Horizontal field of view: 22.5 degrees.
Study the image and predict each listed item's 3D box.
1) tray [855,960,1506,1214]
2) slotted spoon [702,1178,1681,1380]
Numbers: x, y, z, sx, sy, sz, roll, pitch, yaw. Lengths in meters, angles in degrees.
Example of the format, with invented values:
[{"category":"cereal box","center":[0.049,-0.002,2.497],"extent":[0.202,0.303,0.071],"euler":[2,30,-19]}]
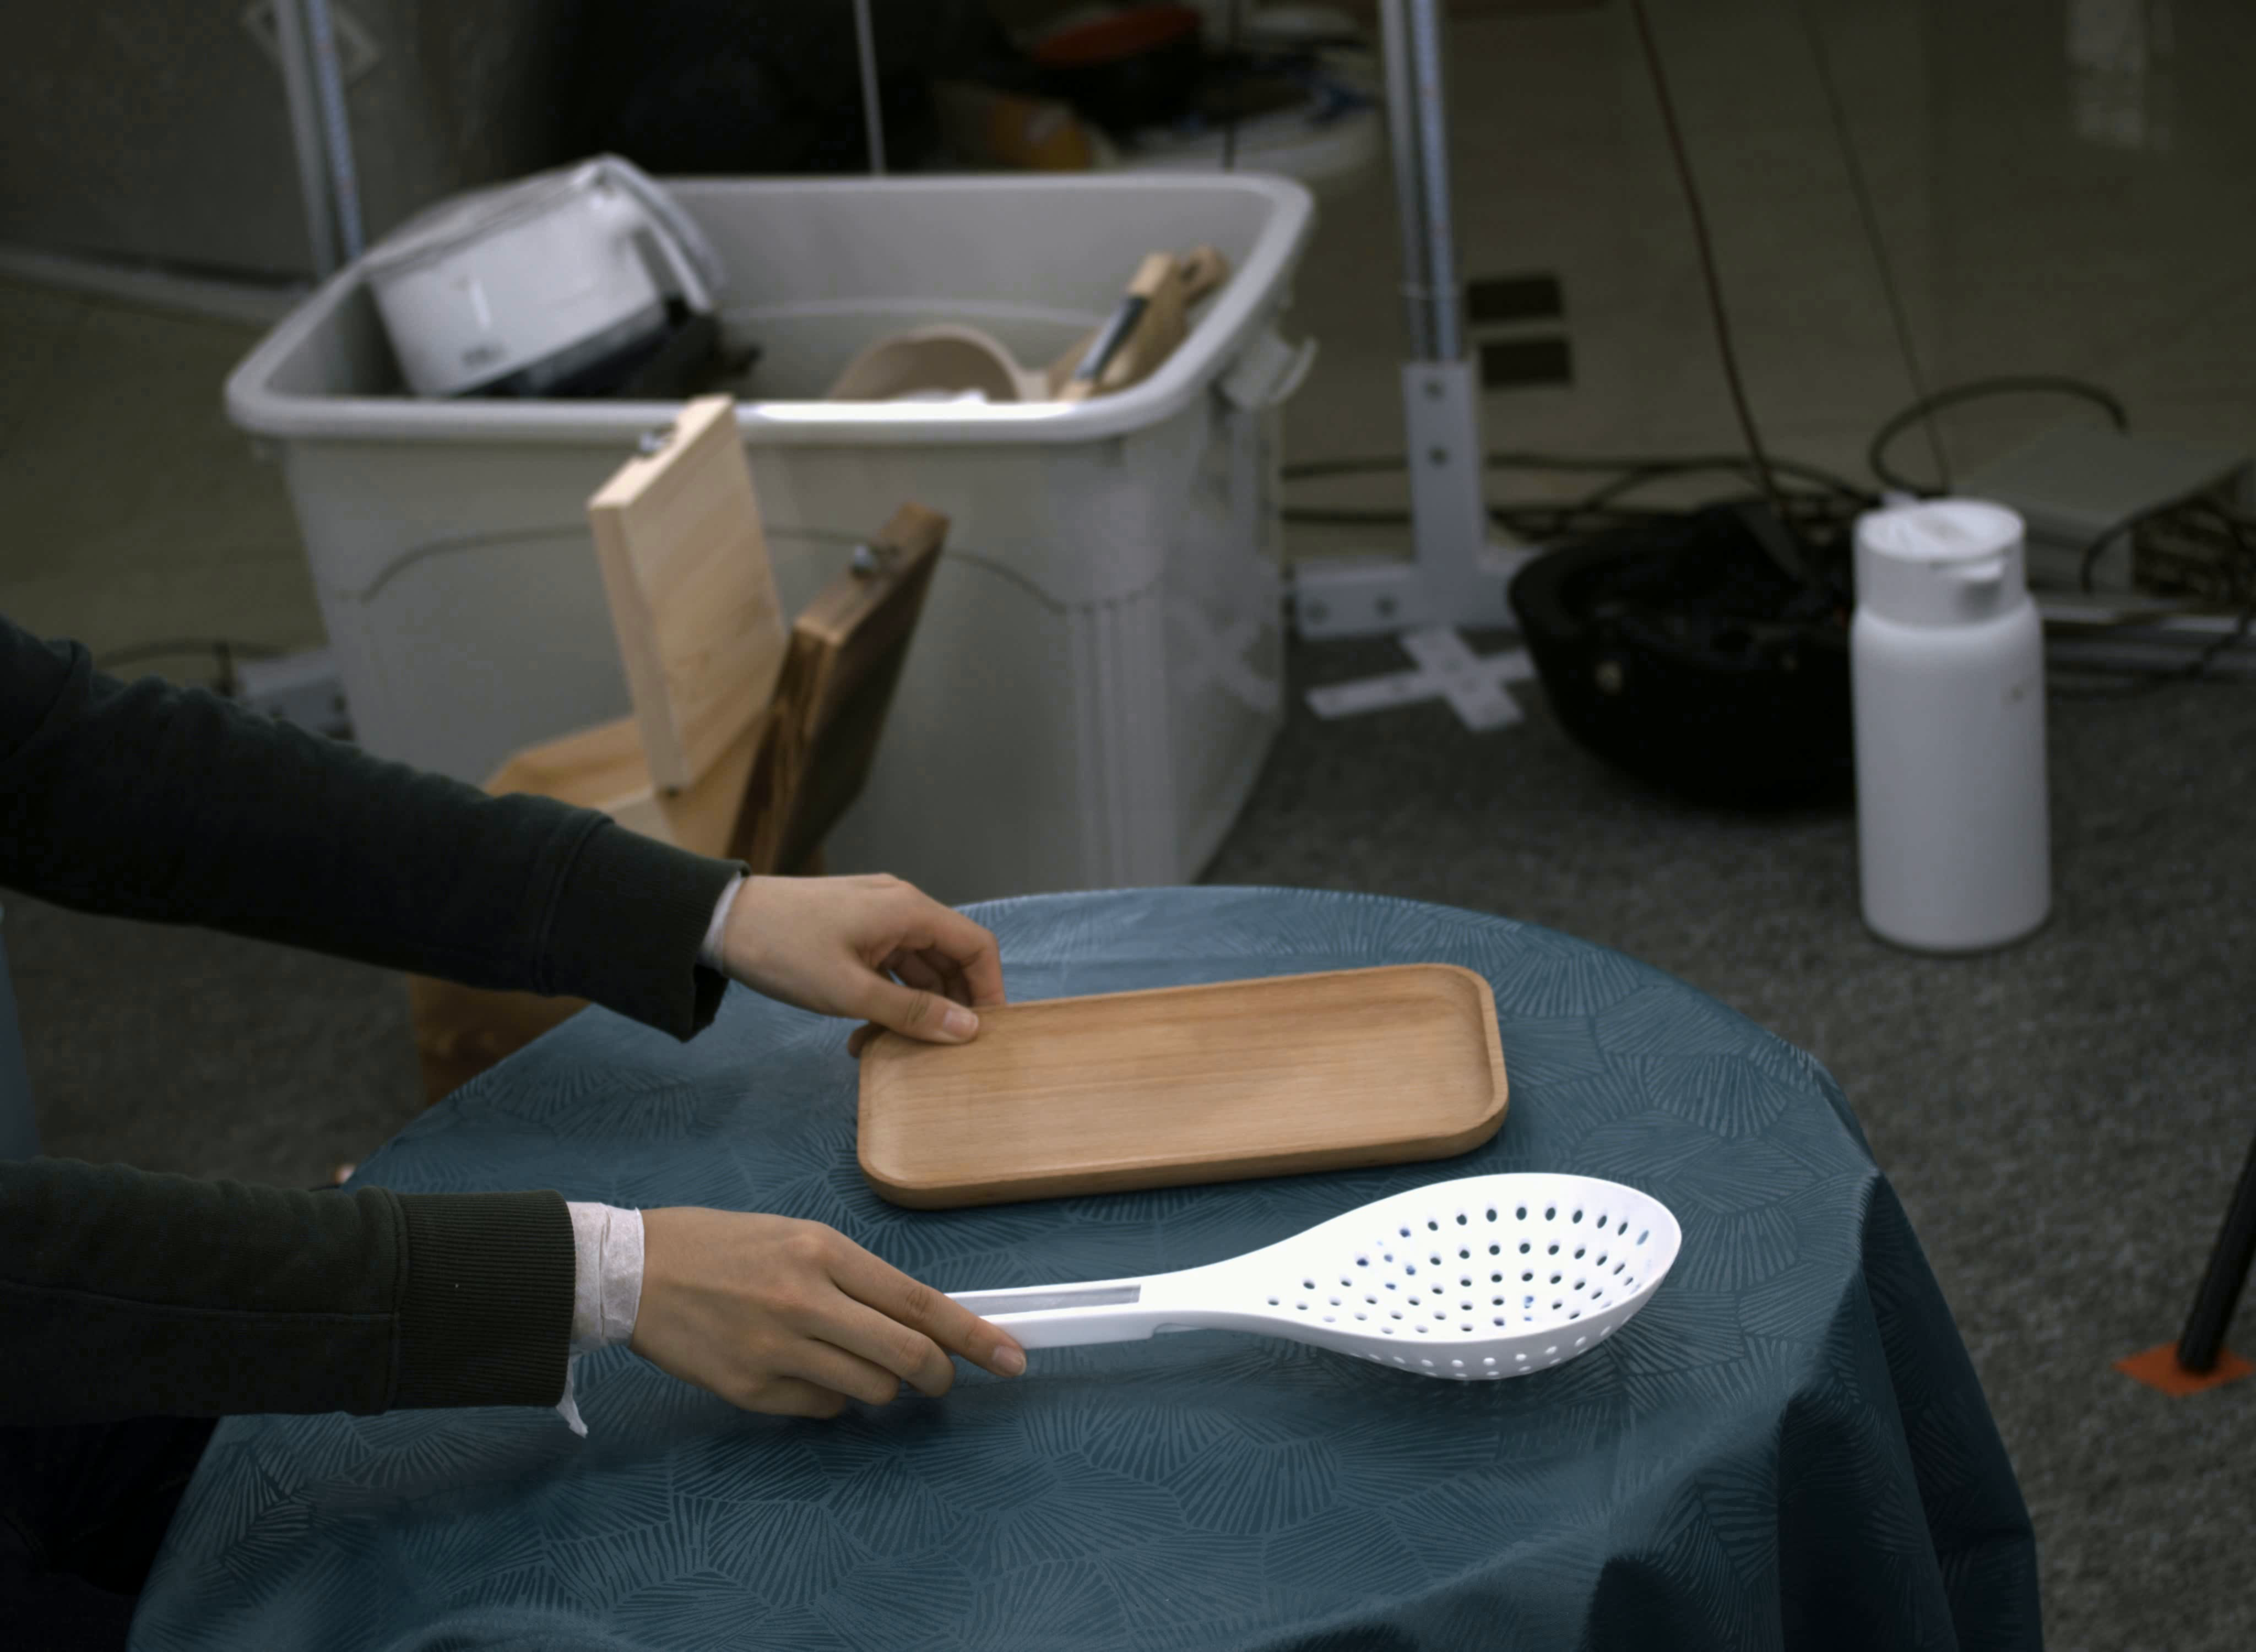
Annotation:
[{"category":"tray","center":[0.019,0.101,2.196],"extent":[0.250,0.023,0.128],"euler":[-6,29,2]},{"category":"slotted spoon","center":[0.021,0.169,2.014],"extent":[0.349,0.046,0.134],"euler":[-1,20,5]}]
